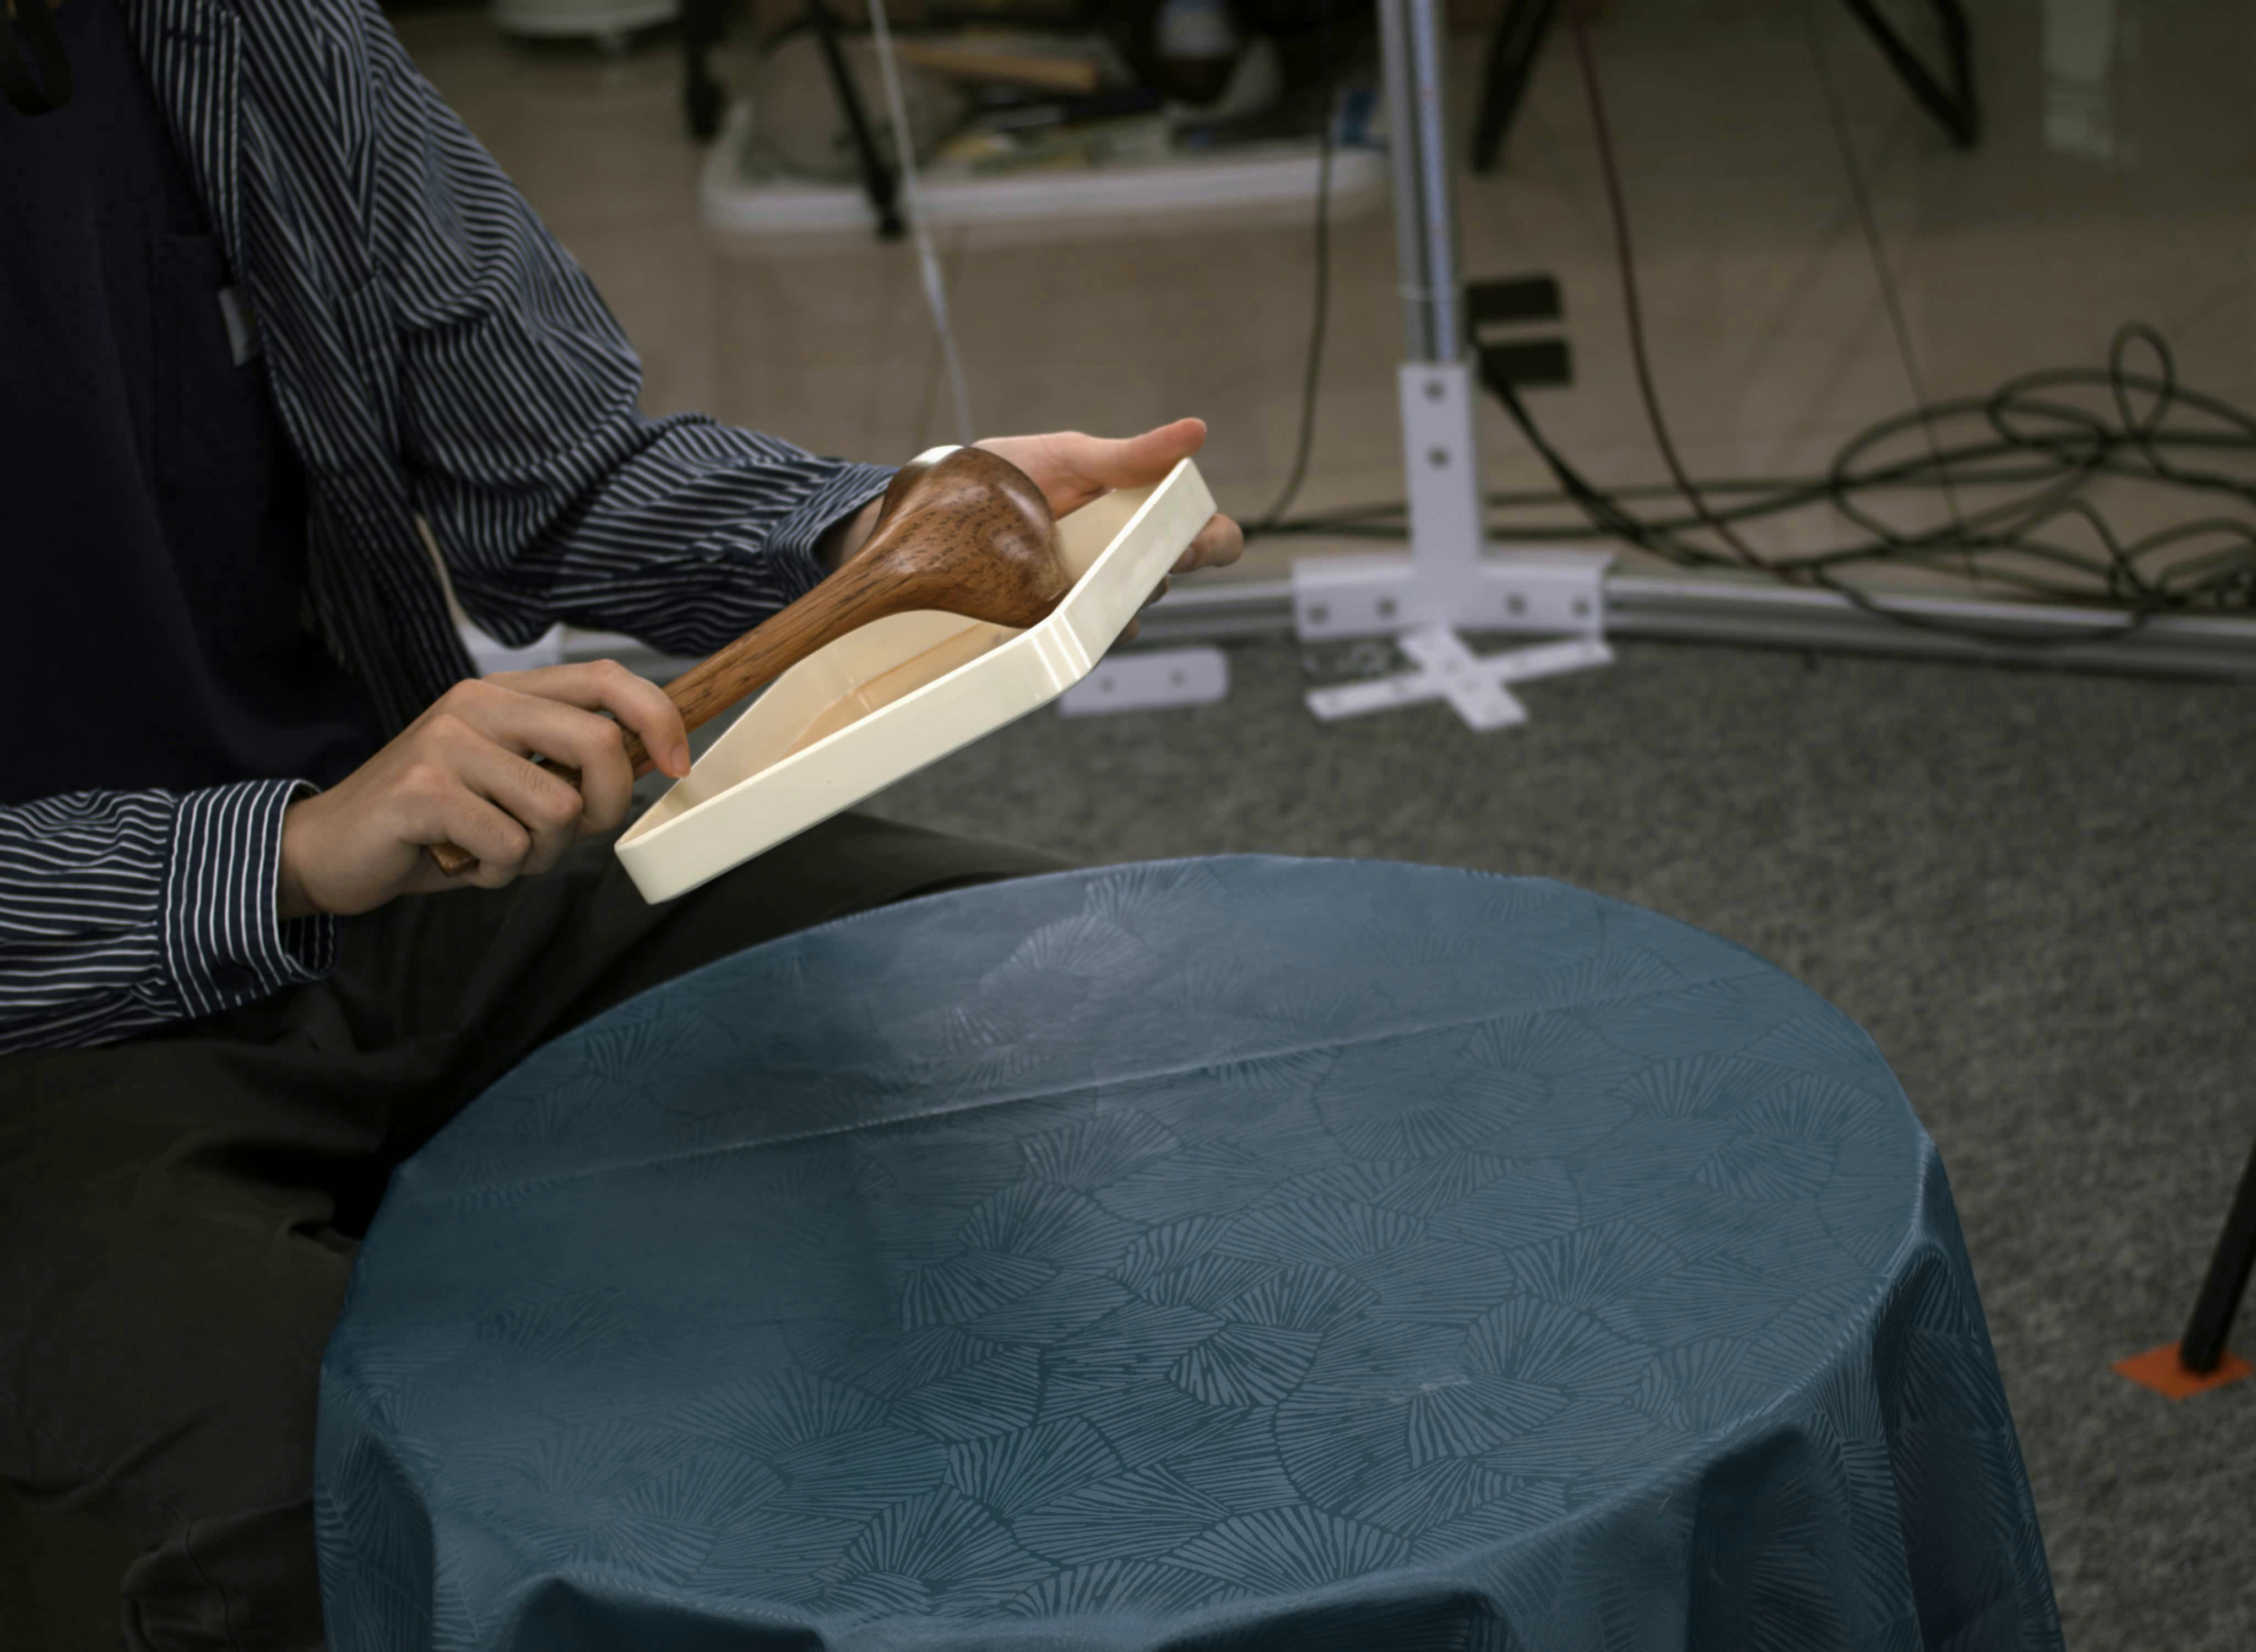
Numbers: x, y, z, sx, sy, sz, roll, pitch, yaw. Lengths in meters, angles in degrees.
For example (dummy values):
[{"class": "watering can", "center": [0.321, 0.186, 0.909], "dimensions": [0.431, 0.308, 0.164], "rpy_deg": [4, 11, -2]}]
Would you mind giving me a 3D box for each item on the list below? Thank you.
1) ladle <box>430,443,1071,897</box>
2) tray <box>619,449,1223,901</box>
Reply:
[{"class": "ladle", "center": [-0.142, -0.052, 2.128], "dimensions": [0.273, 0.077, 0.081], "rpy_deg": [-35, 73, -7]}, {"class": "tray", "center": [-0.073, -0.061, 2.141], "dimensions": [0.192, 0.027, 0.297], "rpy_deg": [-27, 9, 18]}]
